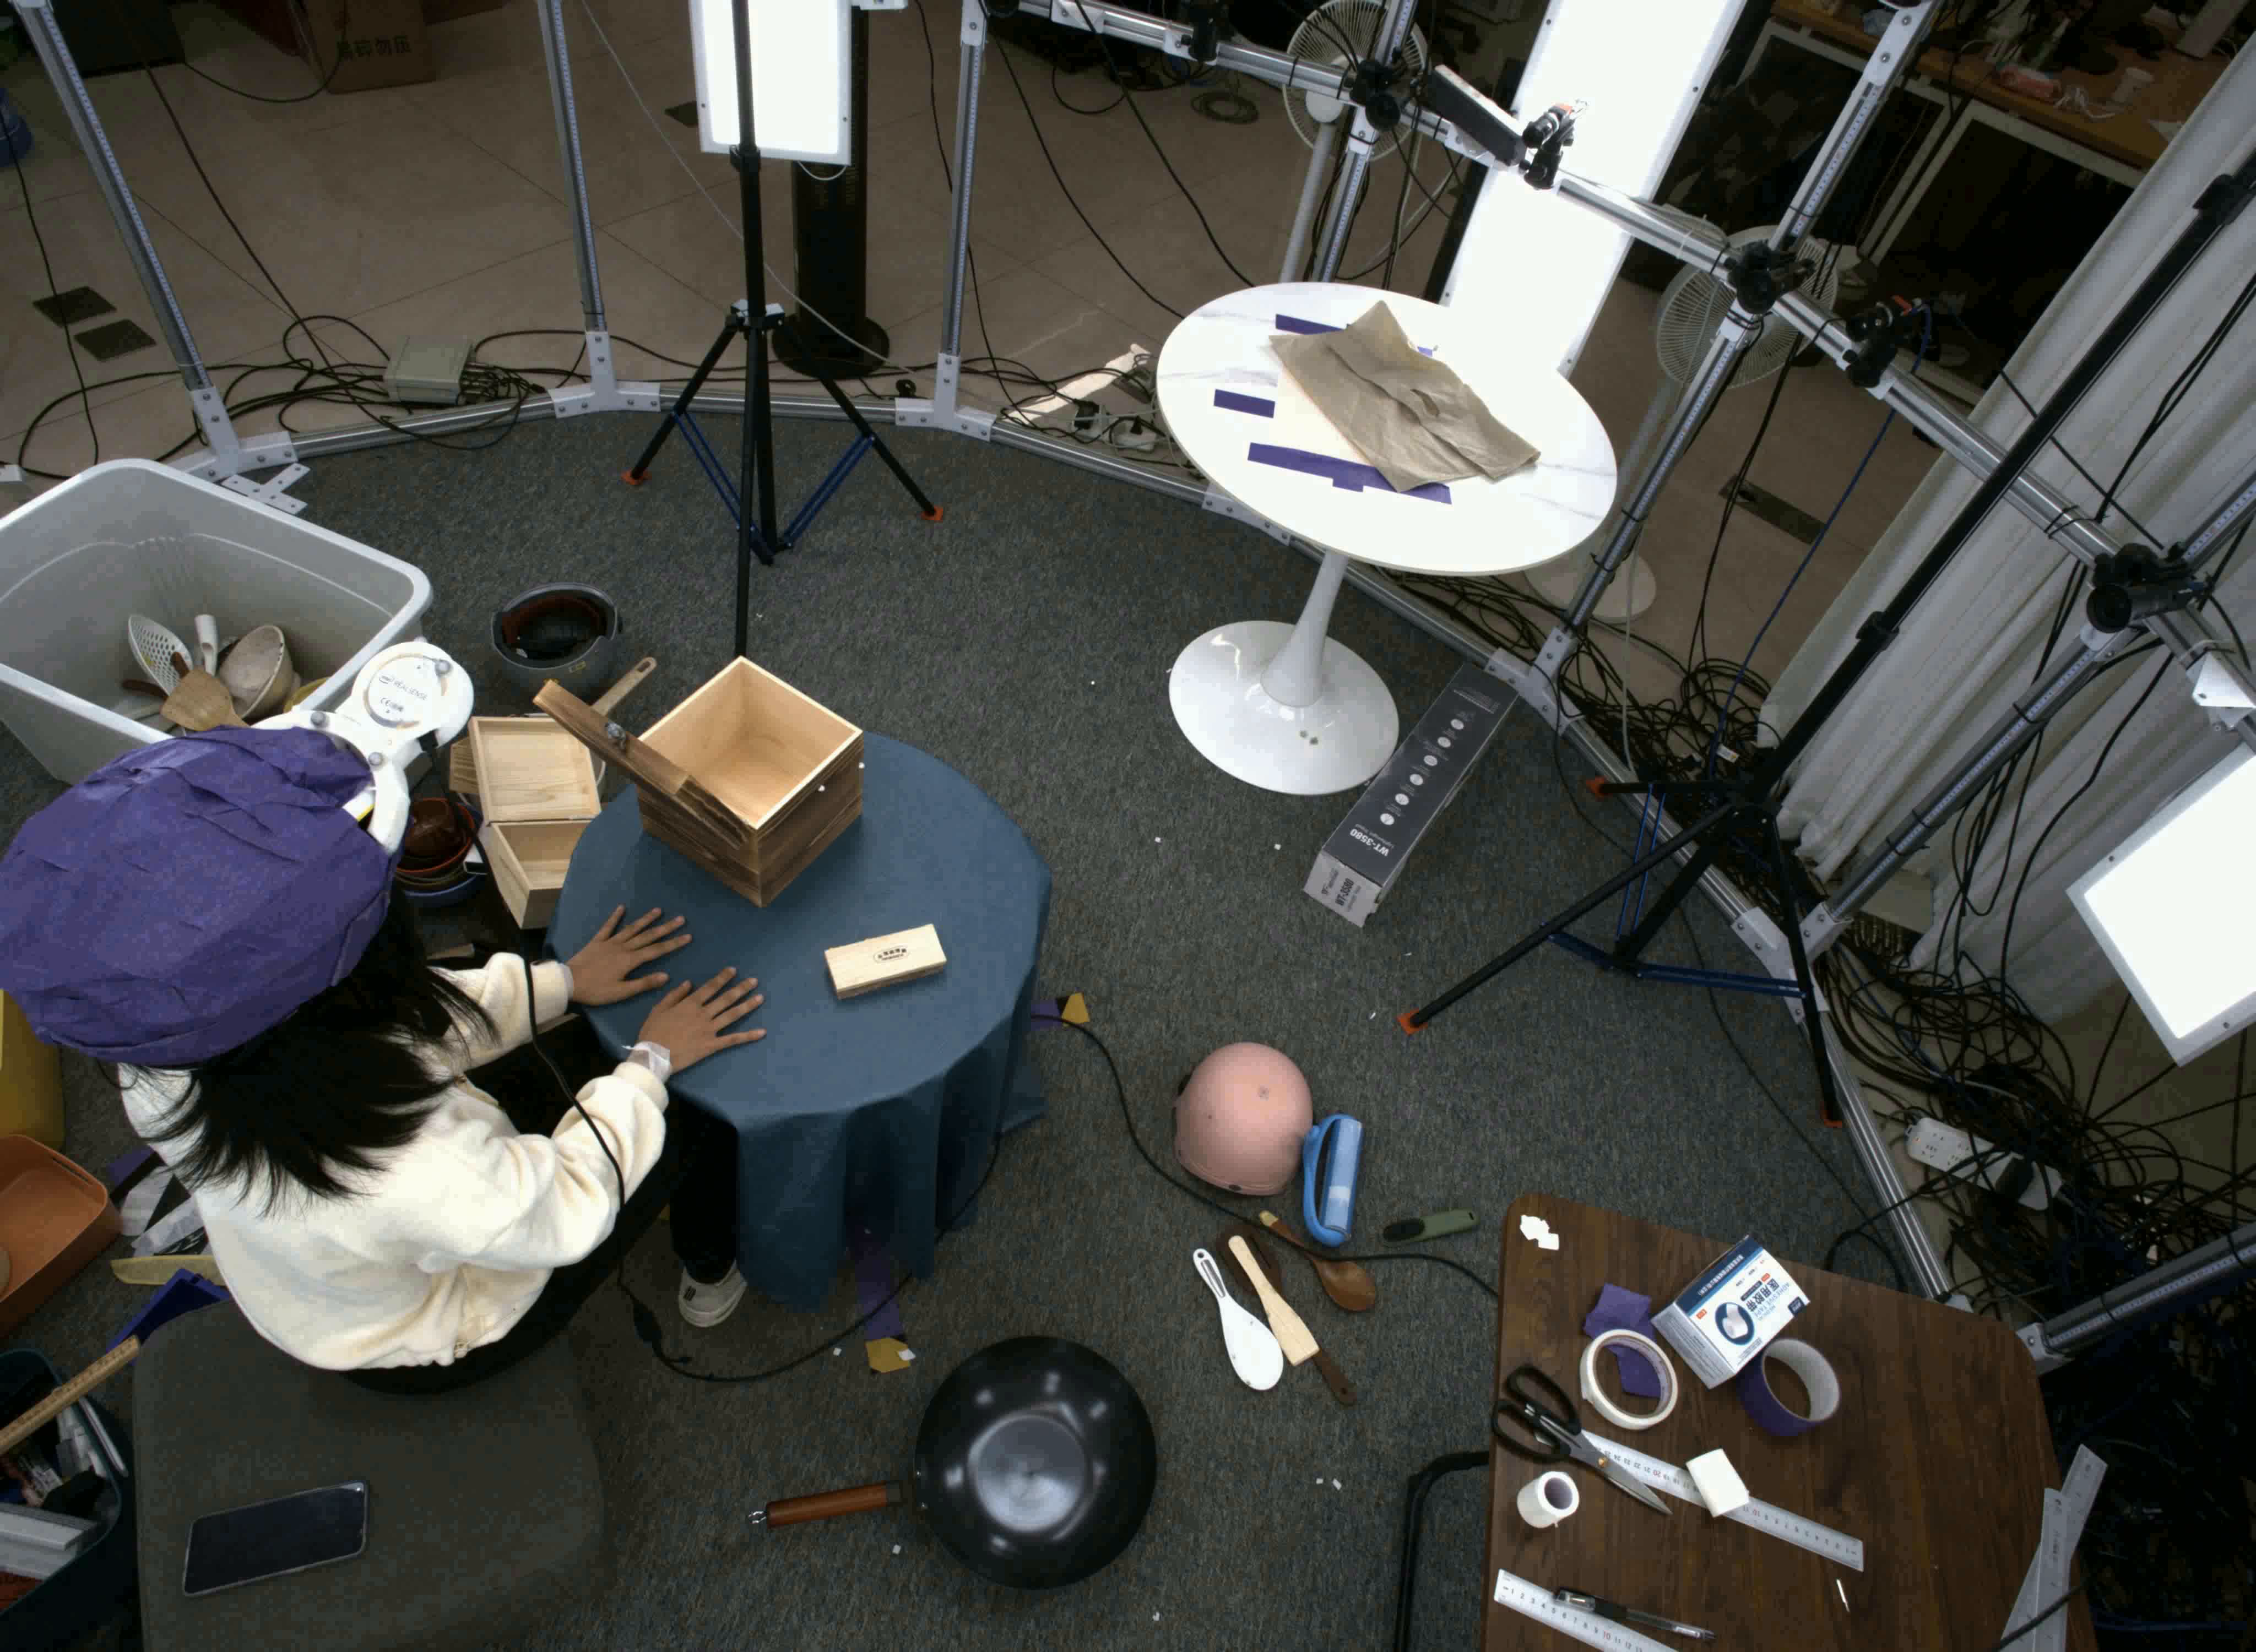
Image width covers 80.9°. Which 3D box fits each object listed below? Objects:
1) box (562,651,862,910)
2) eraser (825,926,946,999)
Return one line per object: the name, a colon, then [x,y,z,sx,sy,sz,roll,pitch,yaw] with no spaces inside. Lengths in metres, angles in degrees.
box: [-0.489,-0.088,1.531,0.205,0.383,0.321,30,52,11]
eraser: [-0.300,0.166,1.609,0.140,0.029,0.056,-13,60,-22]
